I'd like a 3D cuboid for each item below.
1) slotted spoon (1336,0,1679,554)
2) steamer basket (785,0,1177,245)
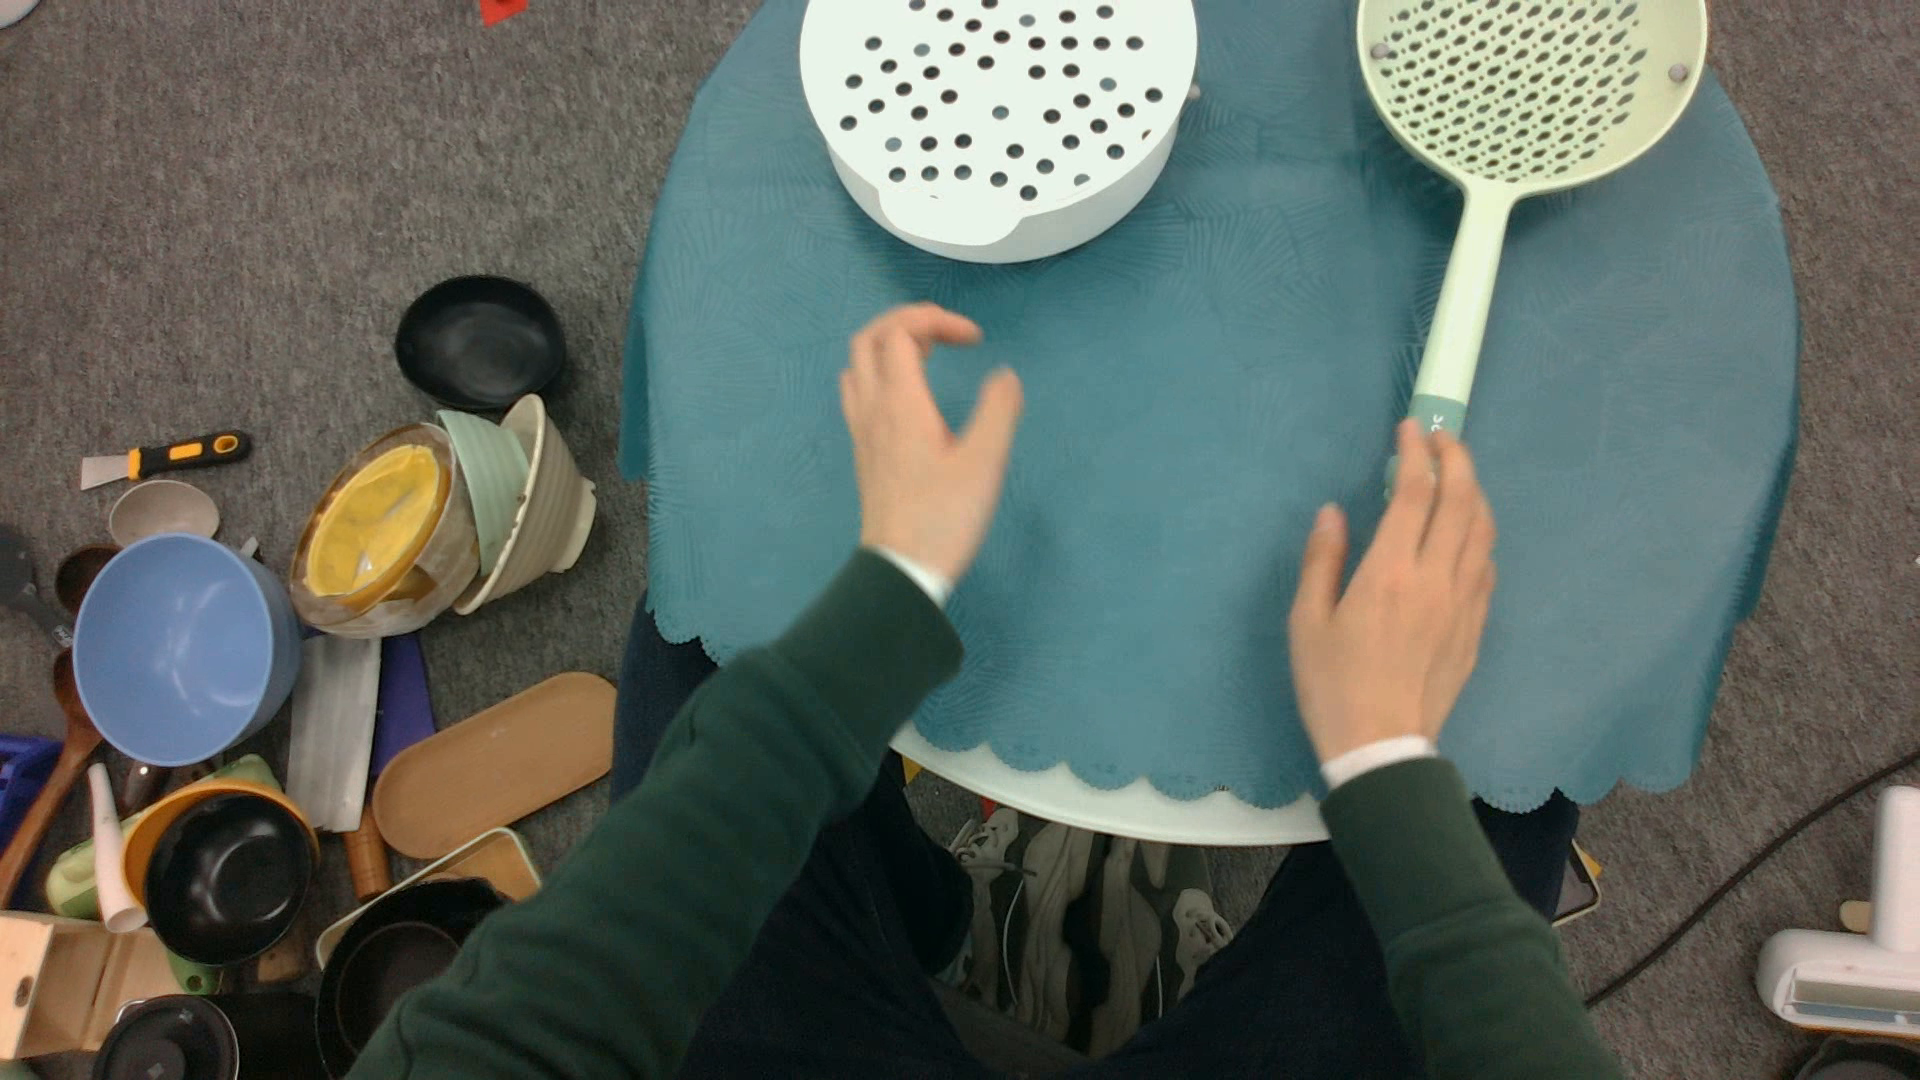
[{"bbox_3d":[0.252,-0.169,0.695,0.169,0.075,0.360,14,73,8],"label":"slotted spoon"},{"bbox_3d":[0.012,-0.254,0.734,0.202,0.069,0.231,11,73,7],"label":"steamer basket"}]
